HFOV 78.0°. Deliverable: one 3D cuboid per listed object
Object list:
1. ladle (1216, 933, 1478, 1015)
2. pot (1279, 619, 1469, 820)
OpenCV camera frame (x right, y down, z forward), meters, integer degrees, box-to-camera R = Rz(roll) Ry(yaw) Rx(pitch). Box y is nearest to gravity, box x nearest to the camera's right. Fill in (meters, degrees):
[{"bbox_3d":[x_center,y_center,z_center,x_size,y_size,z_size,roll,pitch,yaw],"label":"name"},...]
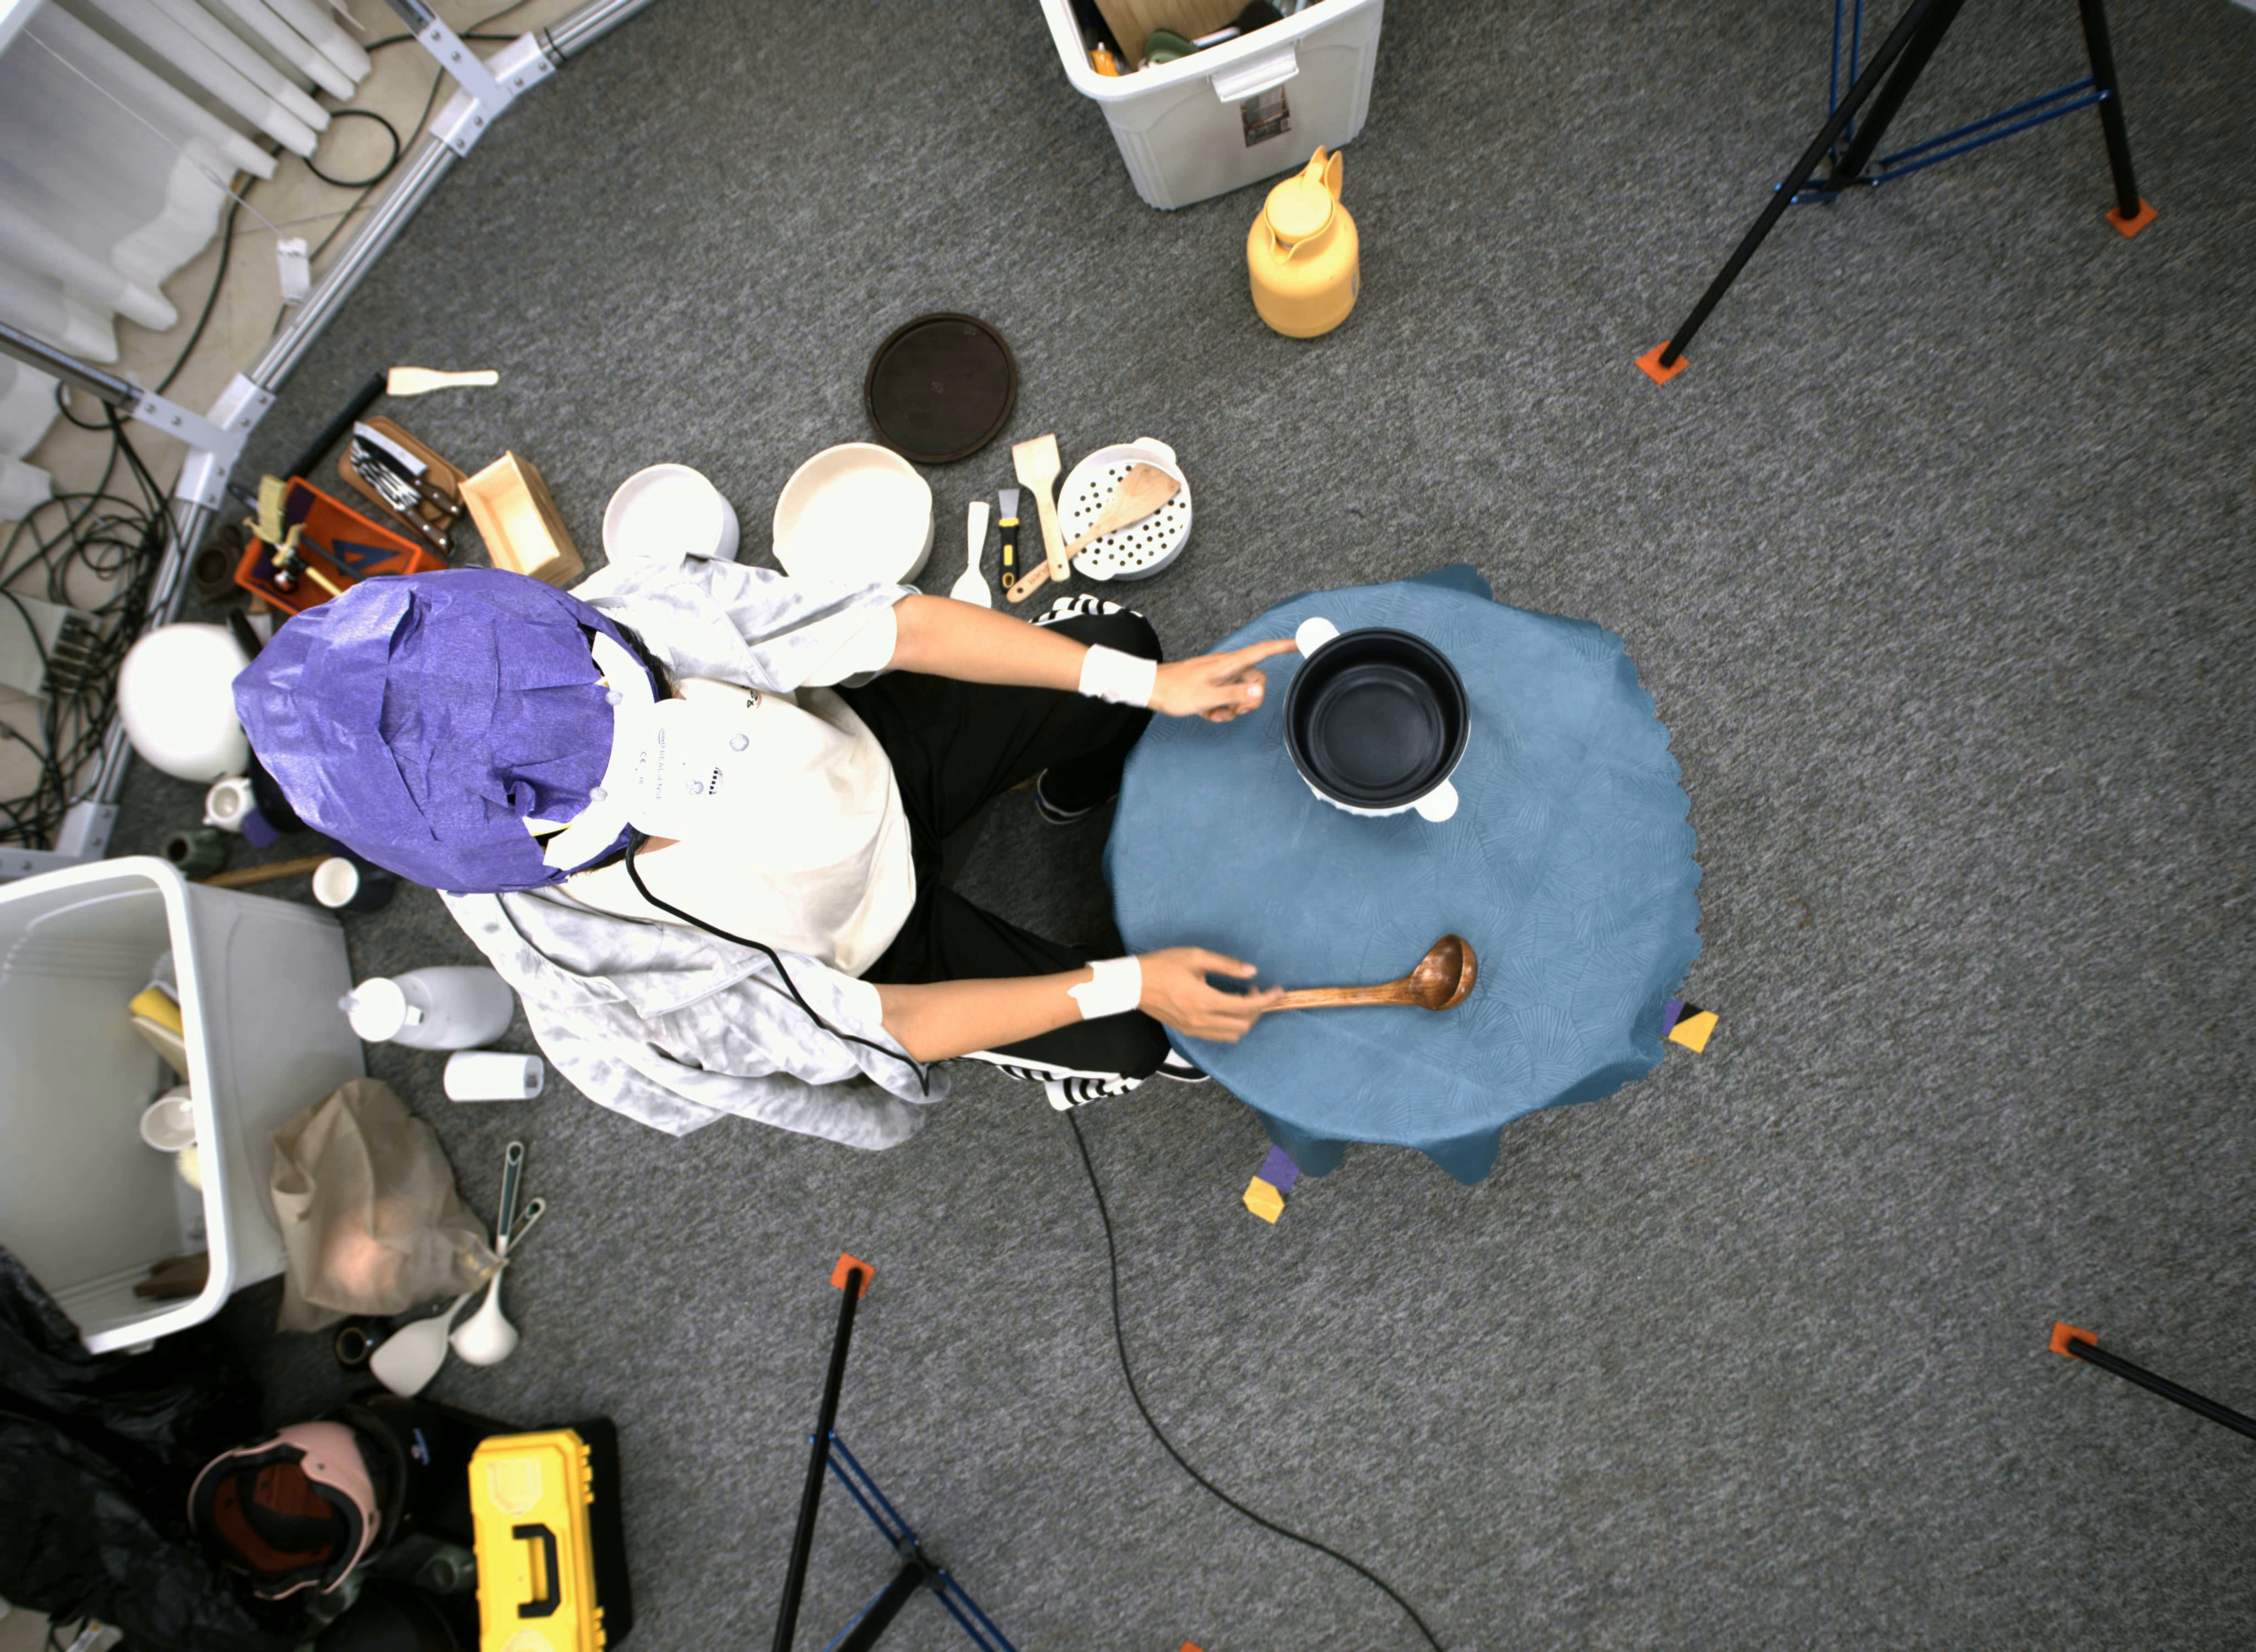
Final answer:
[{"bbox_3d":[0.221,0.159,1.427,0.275,0.078,0.079,-5,44,12],"label":"ladle"},{"bbox_3d":[0.255,-0.105,1.400,0.192,0.142,0.239,-37,82,9],"label":"pot"}]
